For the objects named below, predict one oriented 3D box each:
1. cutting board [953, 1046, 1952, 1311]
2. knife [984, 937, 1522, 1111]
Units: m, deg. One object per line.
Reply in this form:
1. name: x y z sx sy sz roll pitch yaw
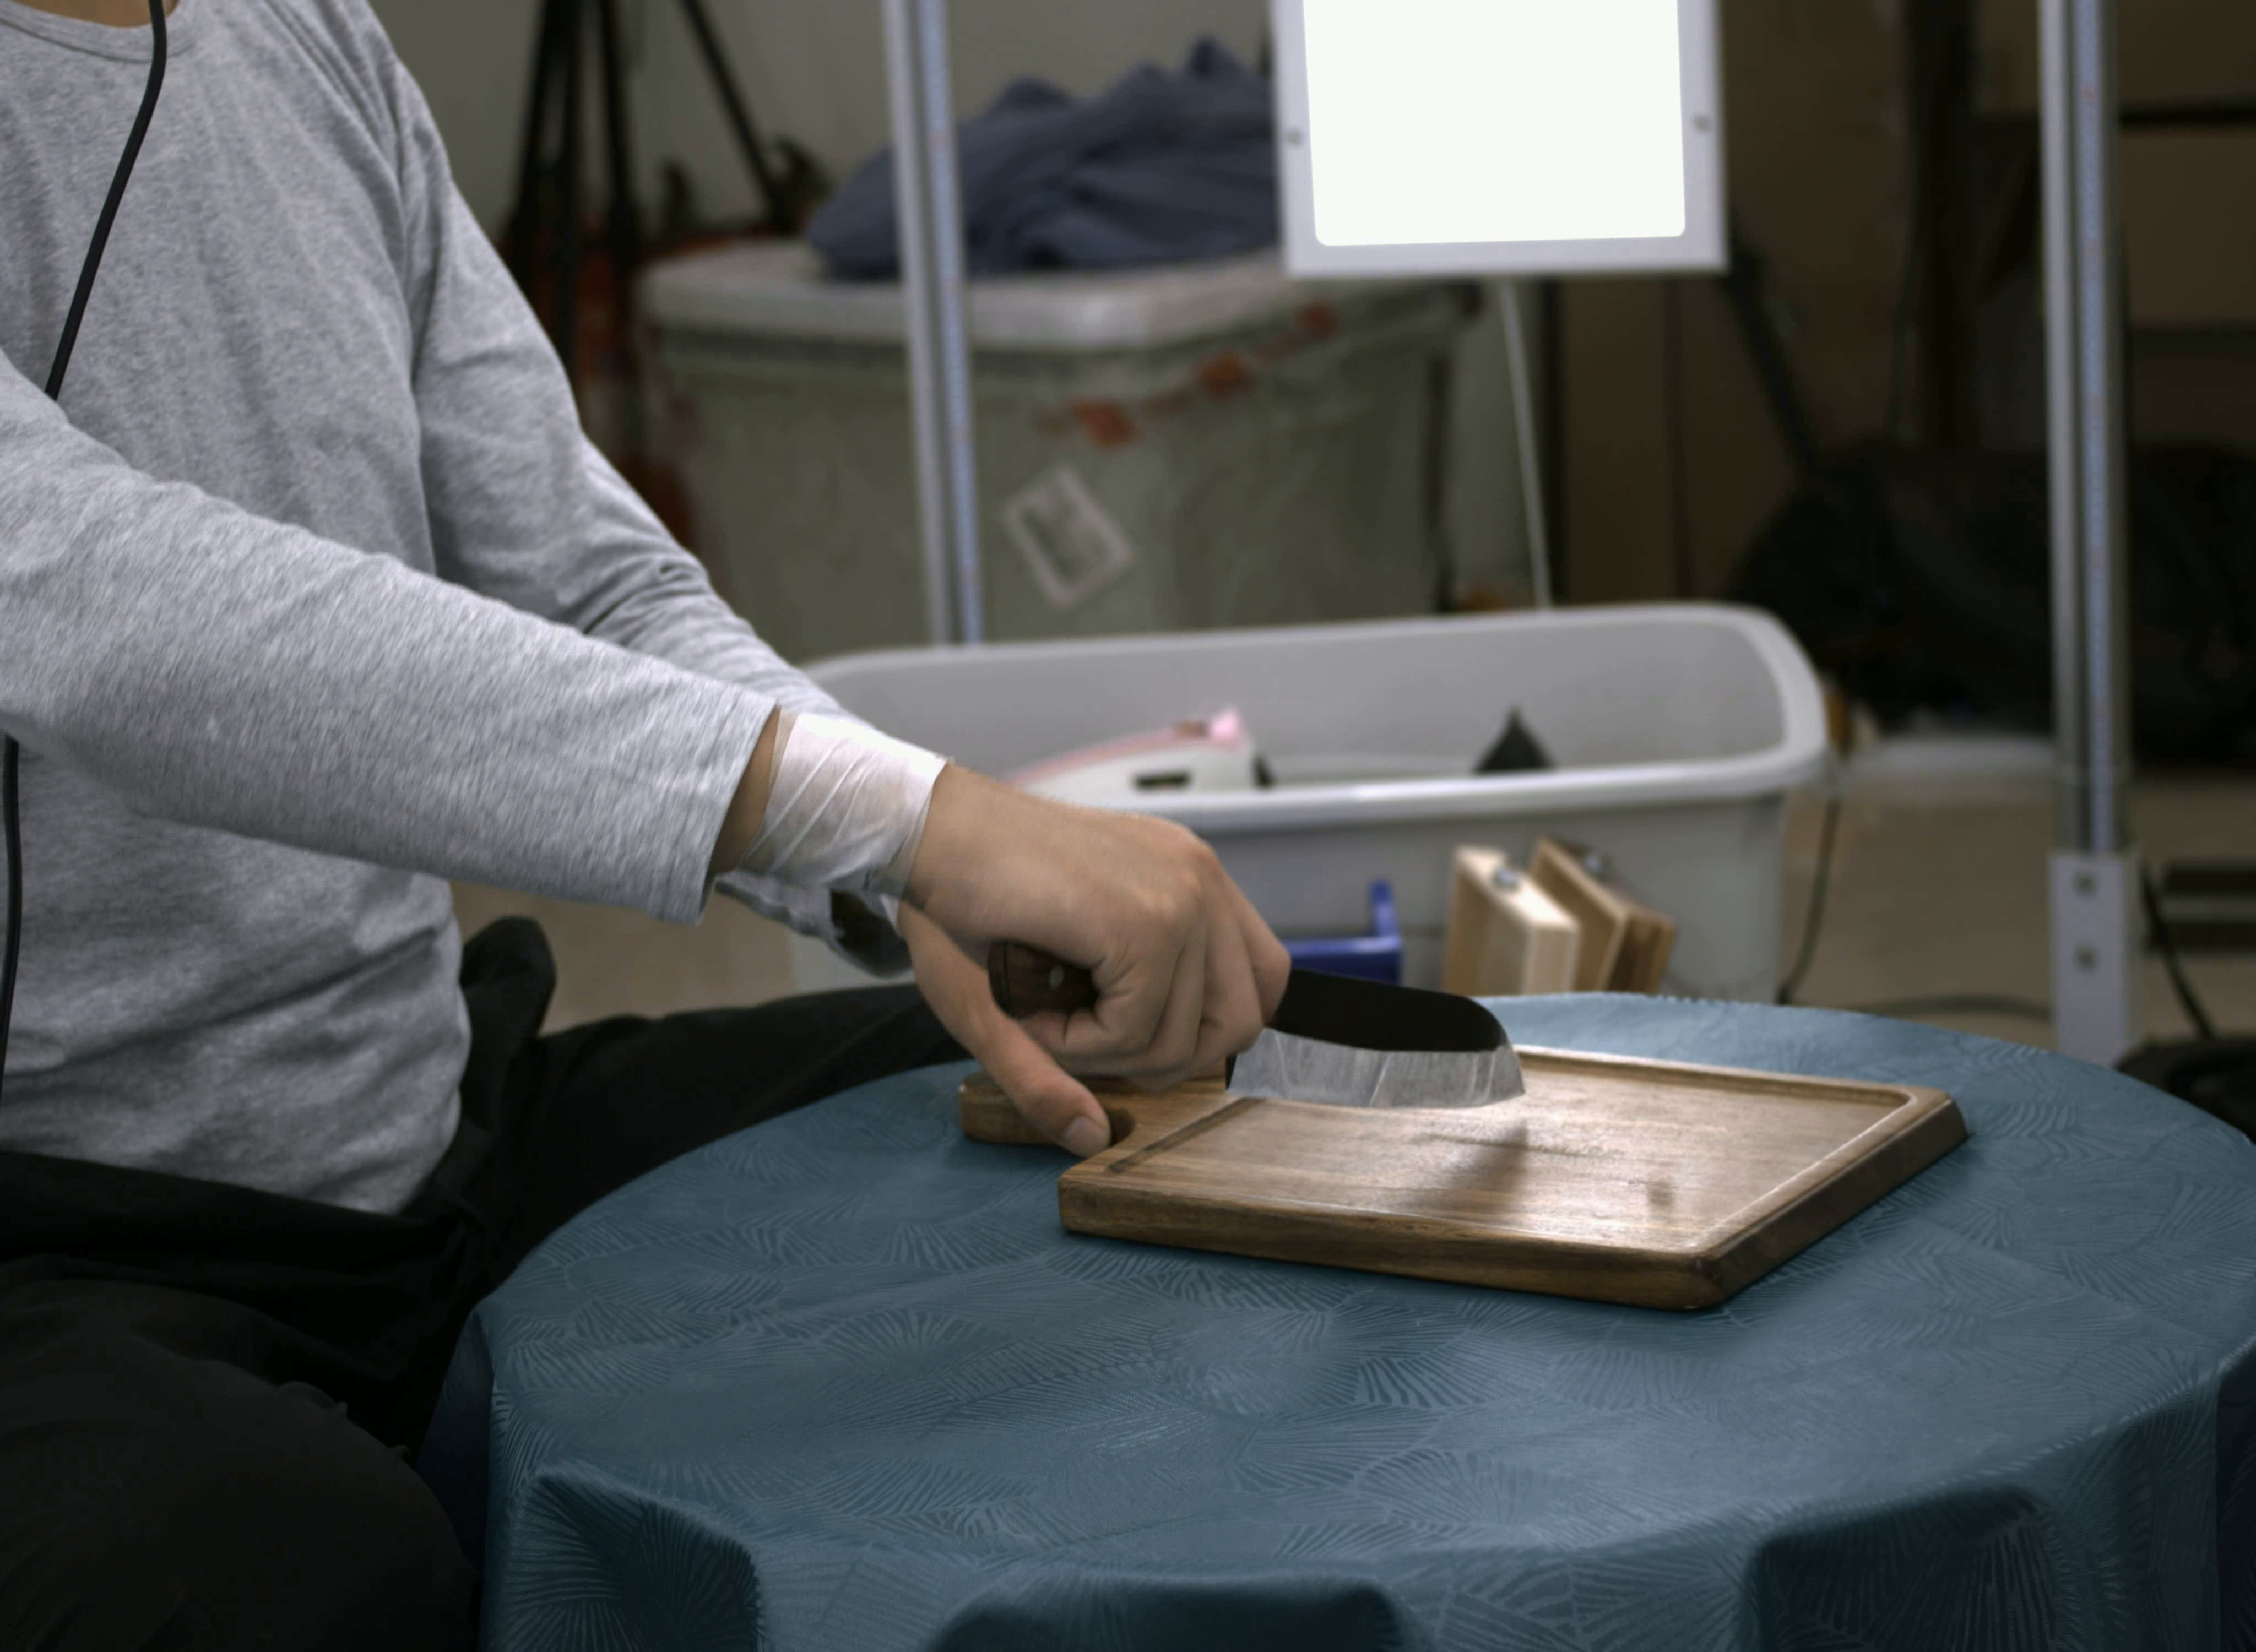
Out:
1. cutting board: 0.089 0.110 1.896 0.359 0.023 0.196 5 16 35
2. knife: 0.049 0.066 1.797 0.020 0.050 0.282 13 0 40
